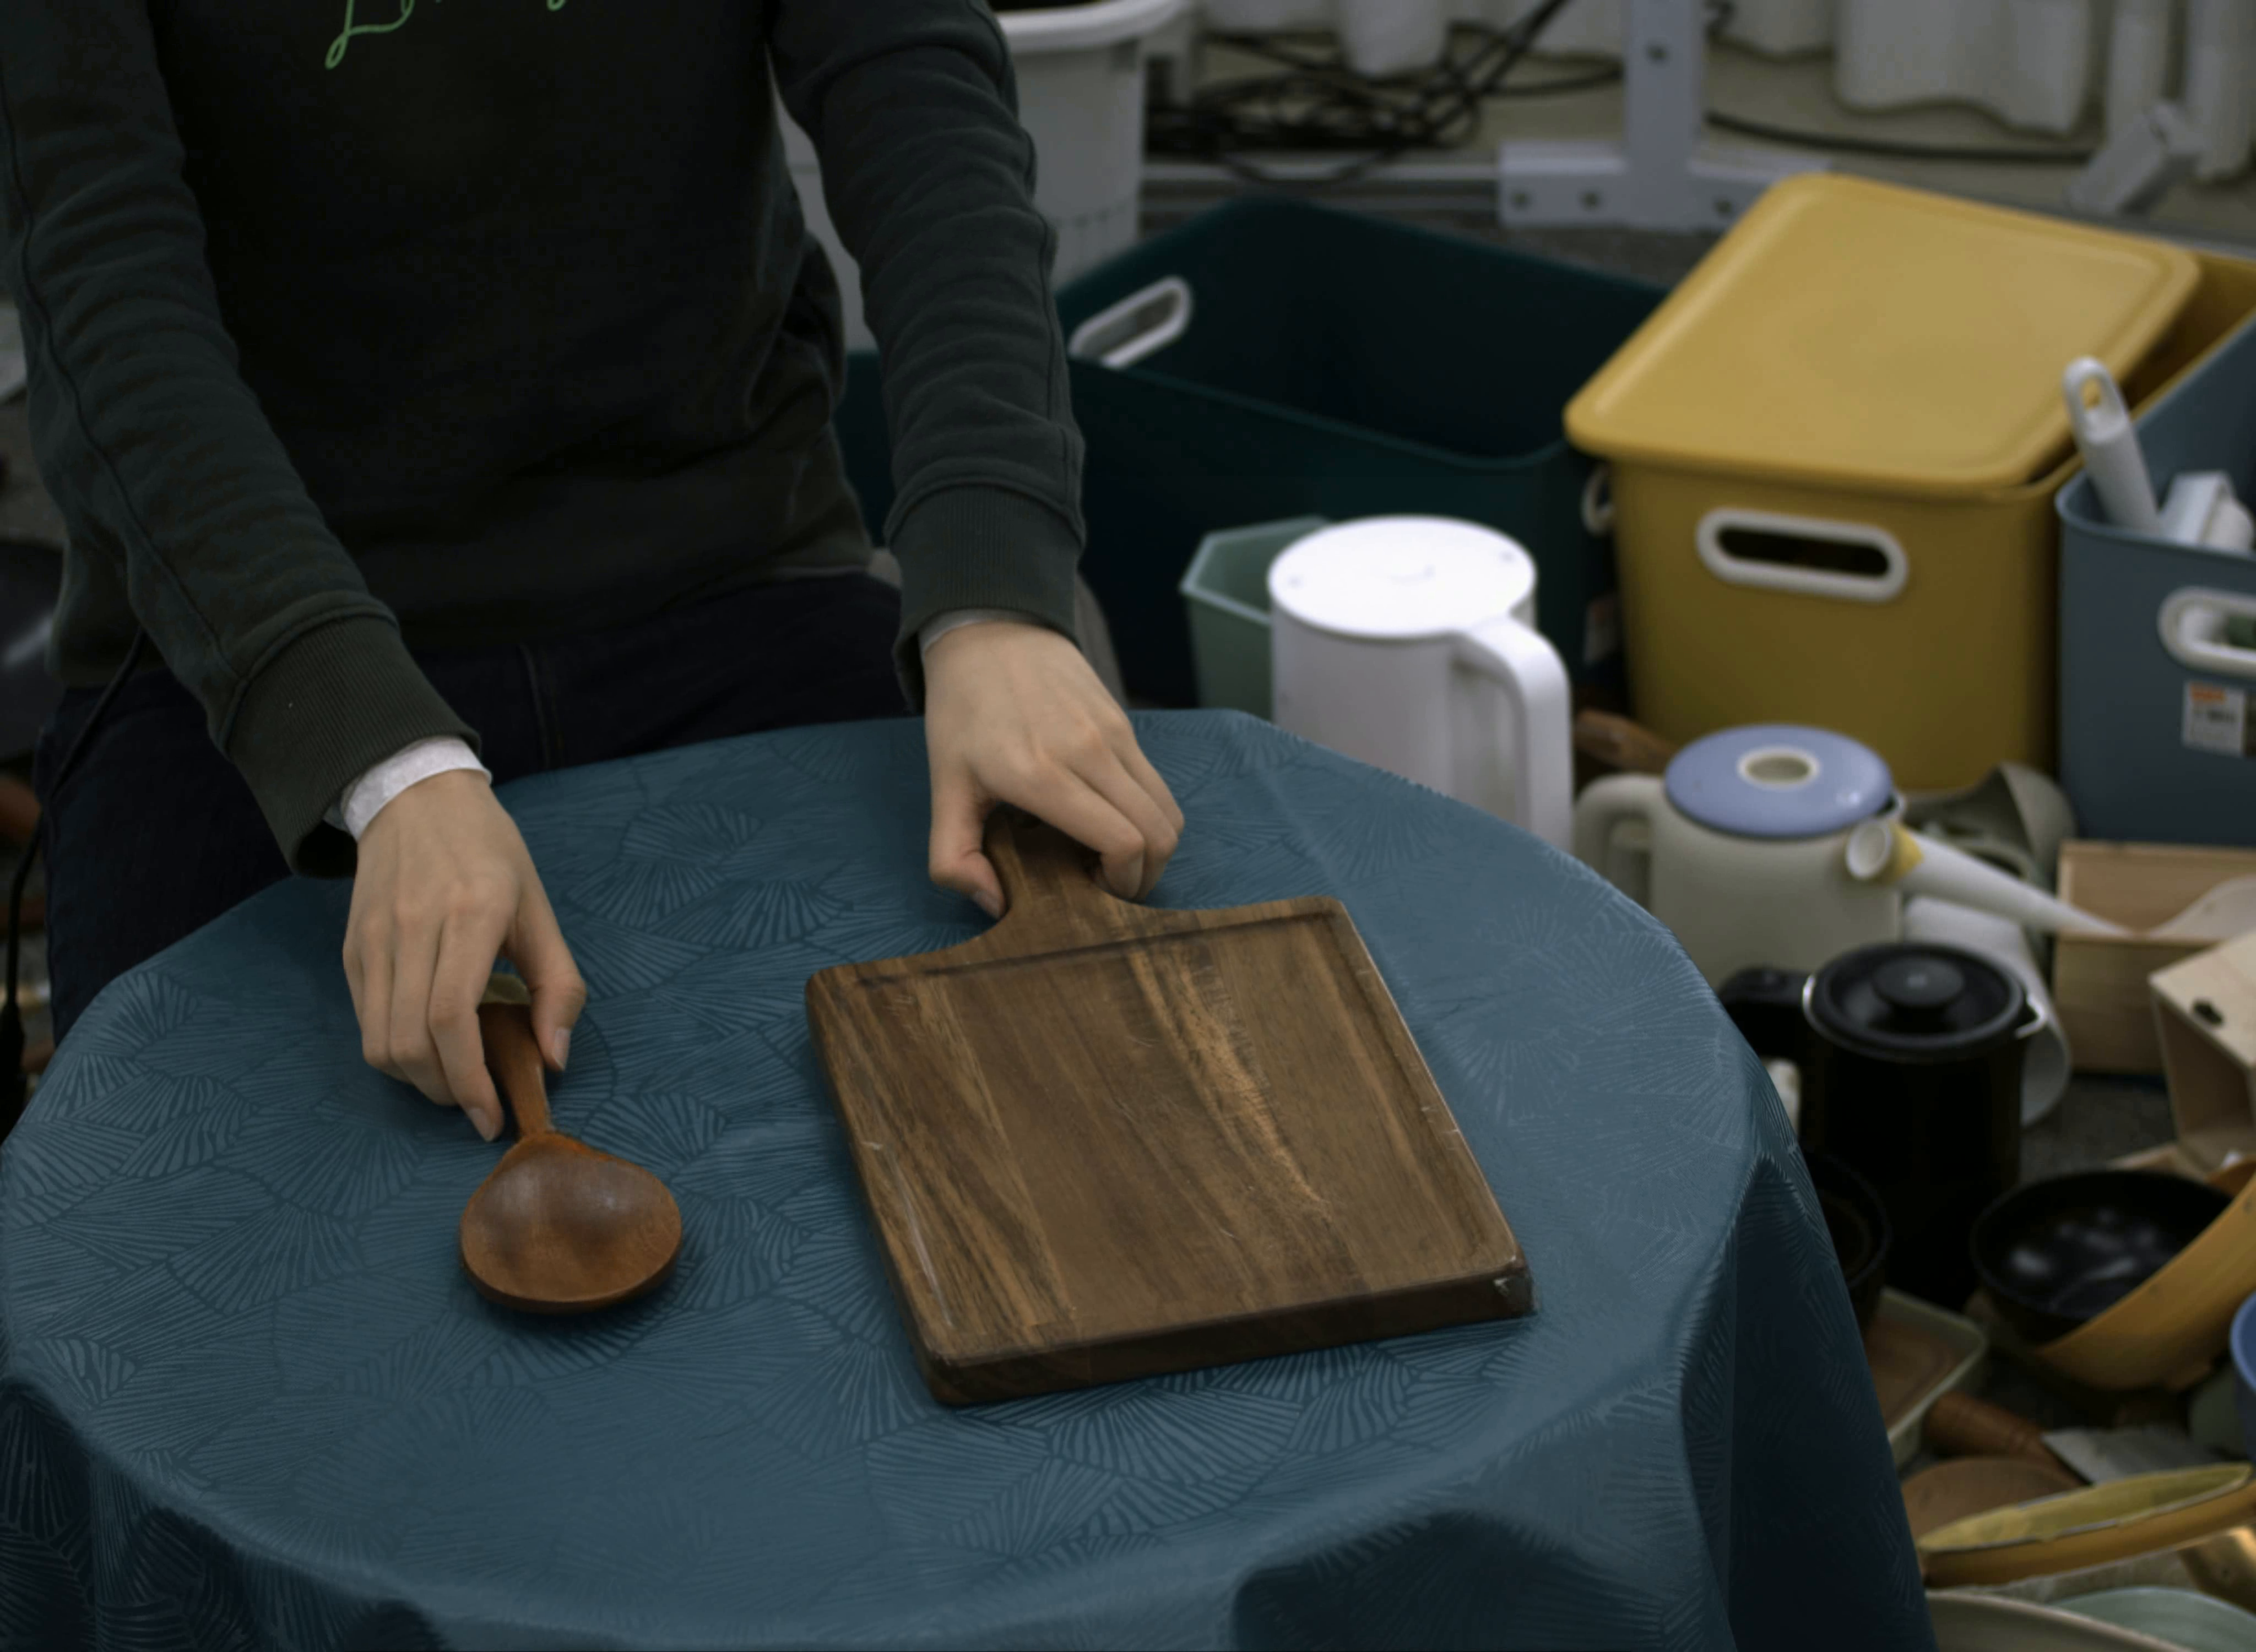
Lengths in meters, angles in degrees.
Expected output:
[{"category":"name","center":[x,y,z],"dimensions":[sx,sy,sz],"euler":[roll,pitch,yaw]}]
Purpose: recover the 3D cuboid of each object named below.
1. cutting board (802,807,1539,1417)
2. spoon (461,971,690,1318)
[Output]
[{"category":"cutting board","center":[-0.002,0.082,1.912],"dimensions":[0.201,0.023,0.356],"euler":[-9,29,-9]},{"category":"spoon","center":[-0.196,0.107,1.885],"dimensions":[0.075,0.017,0.218],"euler":[-11,30,-10]}]
